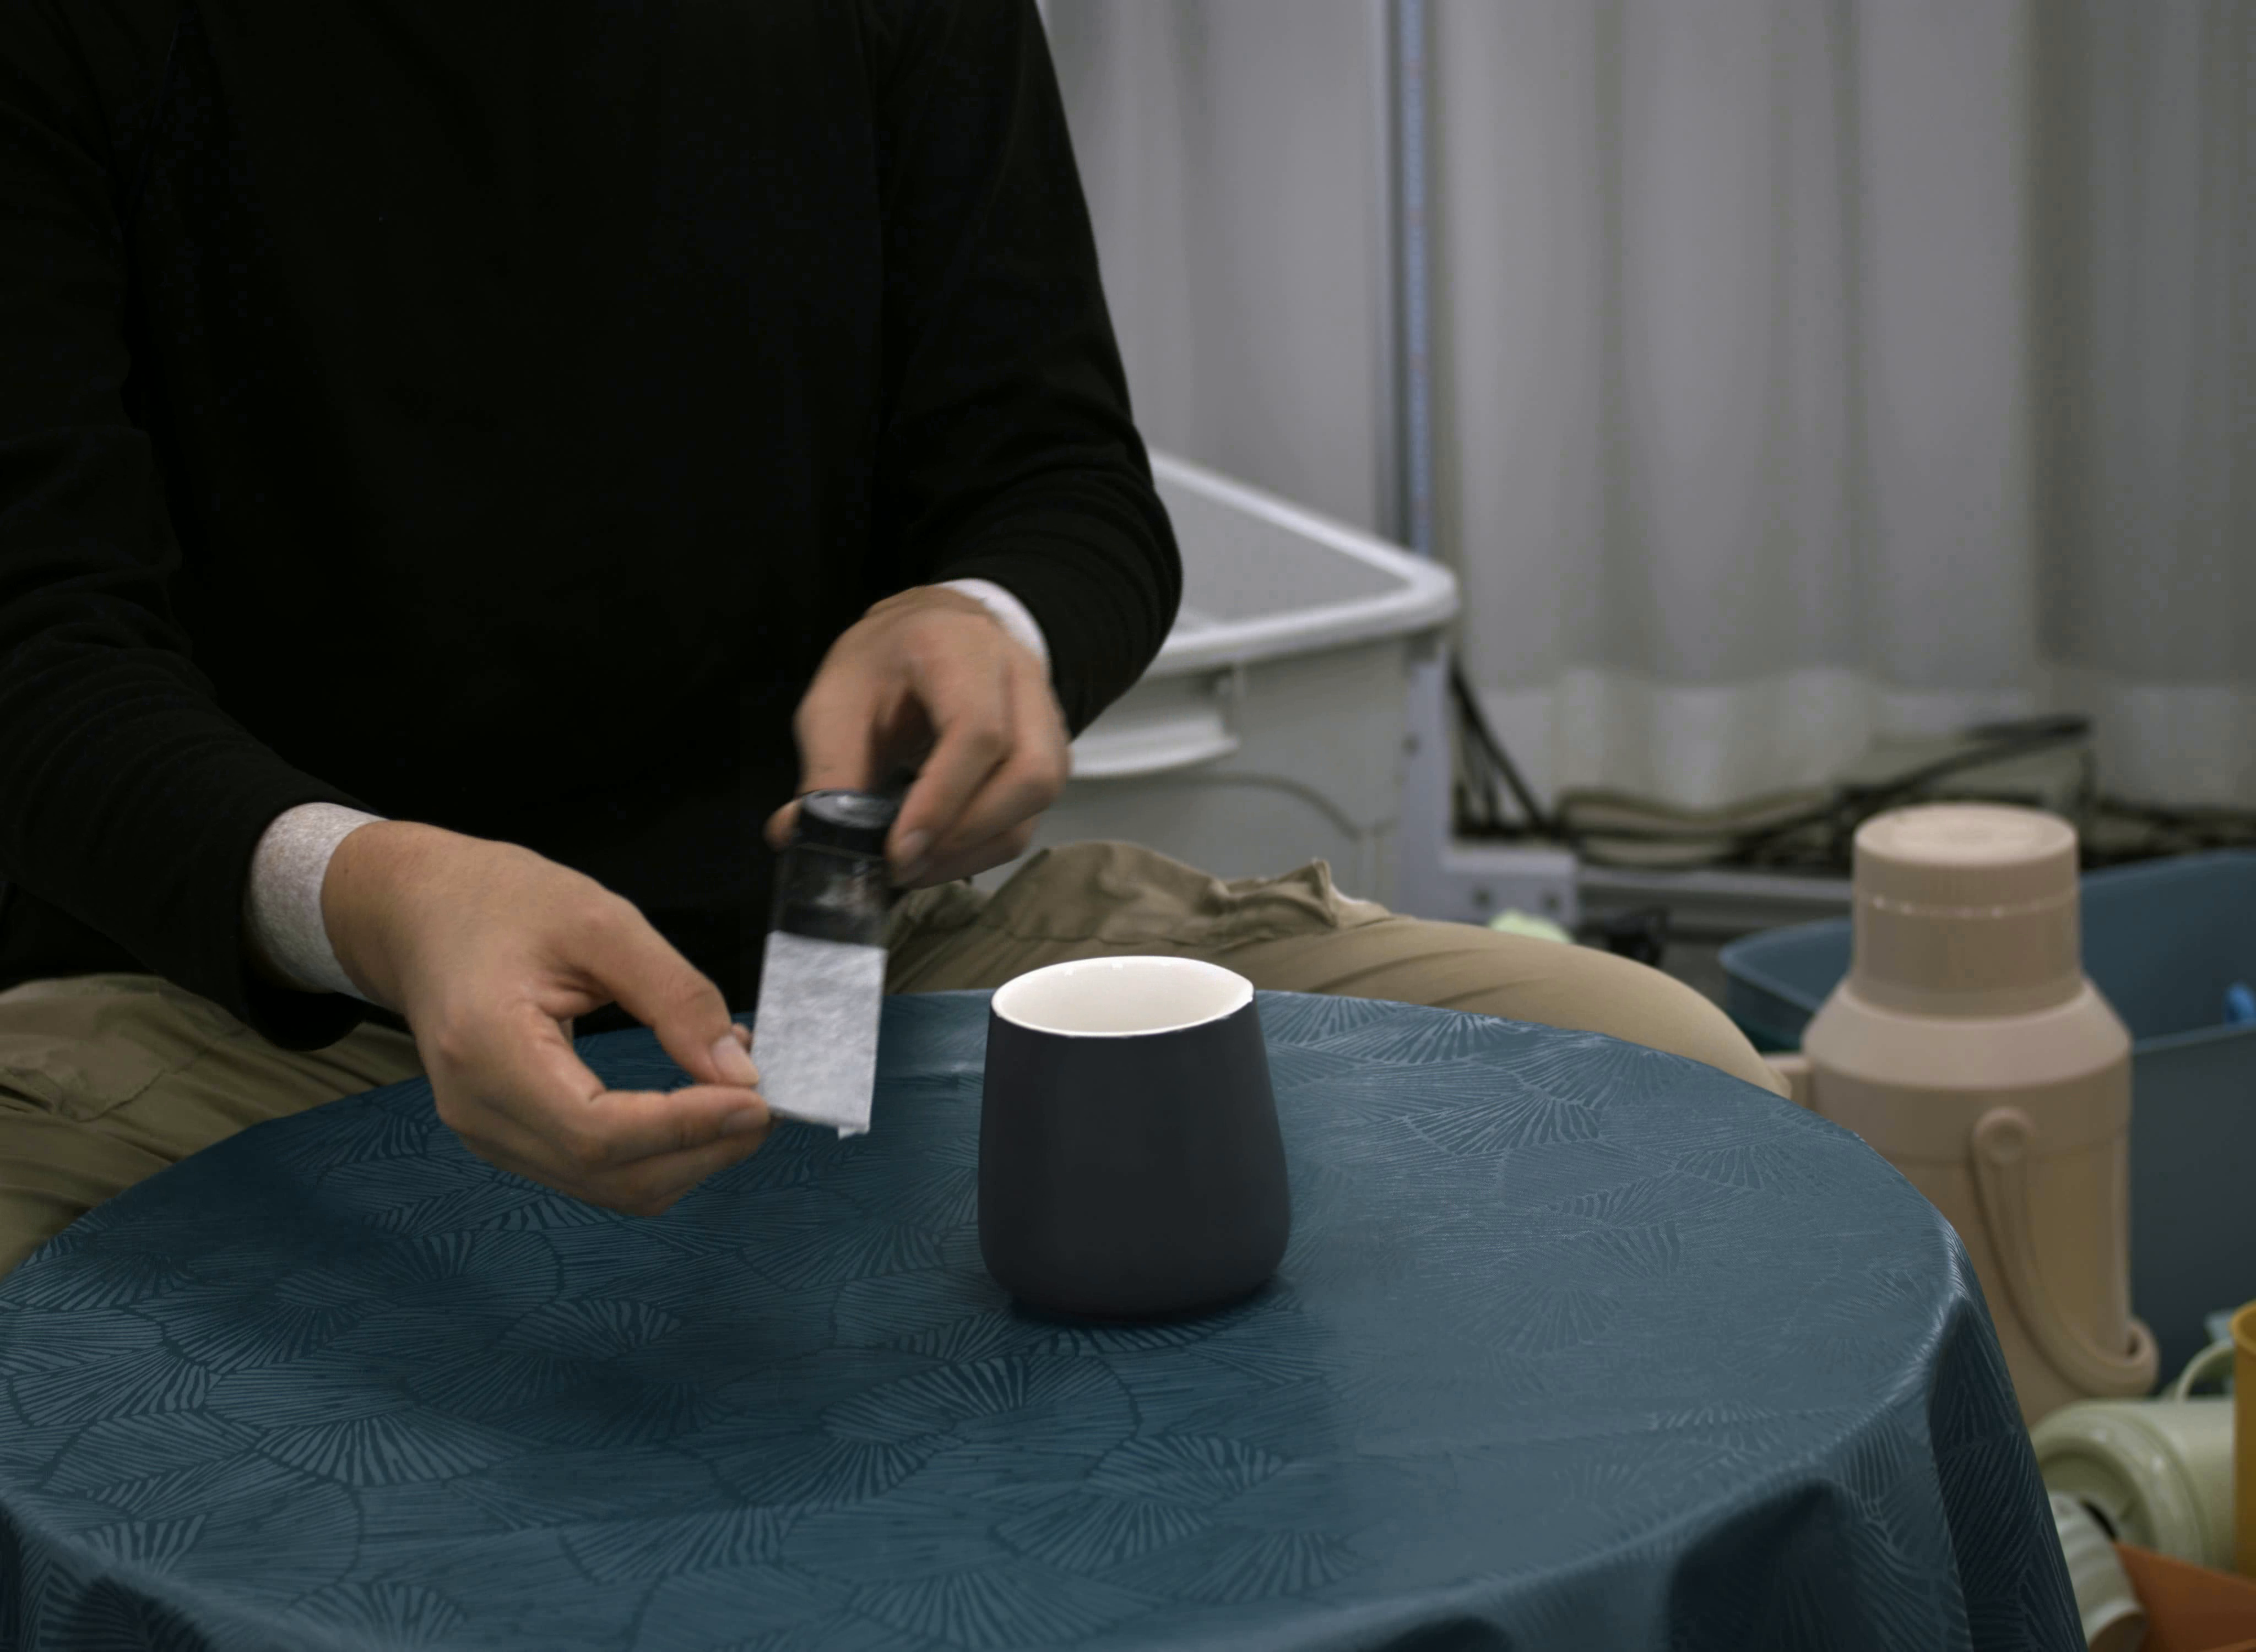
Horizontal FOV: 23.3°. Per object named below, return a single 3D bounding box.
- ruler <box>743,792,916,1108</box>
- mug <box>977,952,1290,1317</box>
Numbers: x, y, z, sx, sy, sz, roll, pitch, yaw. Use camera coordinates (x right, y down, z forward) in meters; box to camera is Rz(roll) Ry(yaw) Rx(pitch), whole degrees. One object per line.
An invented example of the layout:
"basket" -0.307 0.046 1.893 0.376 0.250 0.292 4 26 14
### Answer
"ruler" -0.085 0.033 1.615 0.038 0.024 0.220 5 18 0
"mug" -0.004 0.088 1.635 0.093 0.089 0.124 -7 16 -18
